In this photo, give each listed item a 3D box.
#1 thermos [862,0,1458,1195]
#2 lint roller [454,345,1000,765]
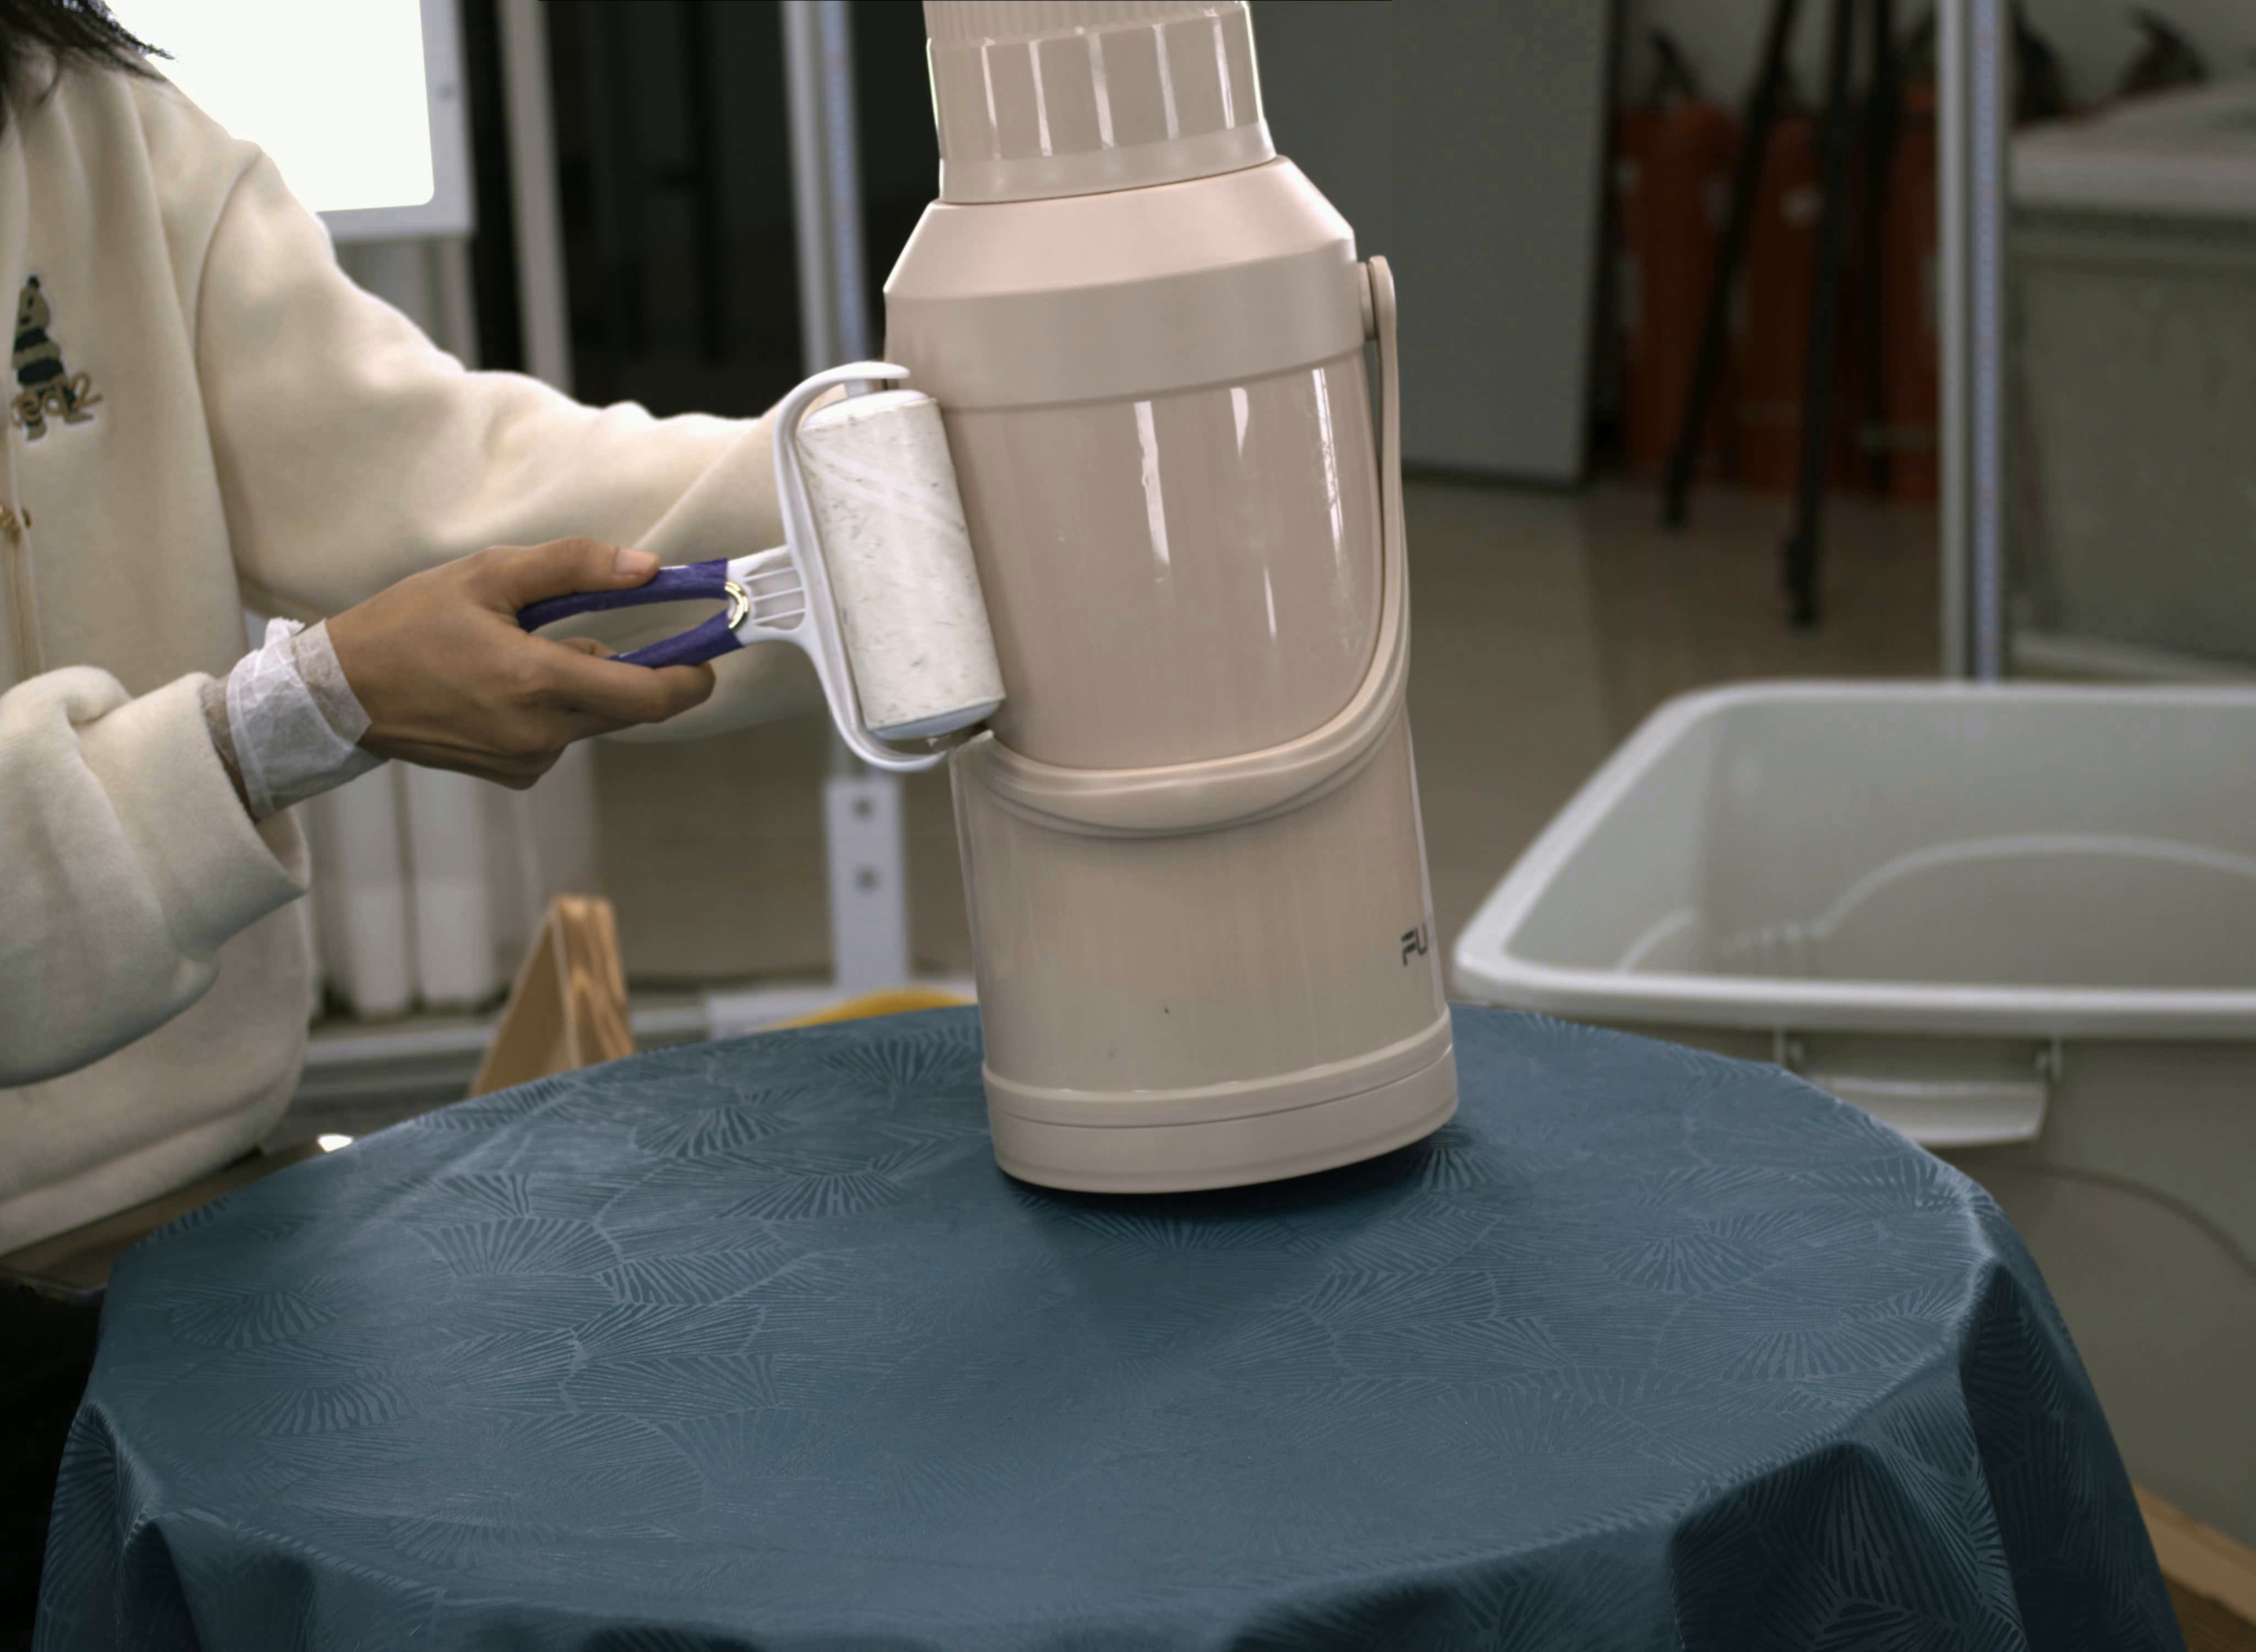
[{"bbox_3d":[0.010,-0.095,1.787,0.173,0.411,0.207,-8,9,2],"label":"thermos"},{"bbox_3d":[-0.136,-0.074,1.732,0.179,0.134,0.050,-11,2,10],"label":"lint roller"}]
